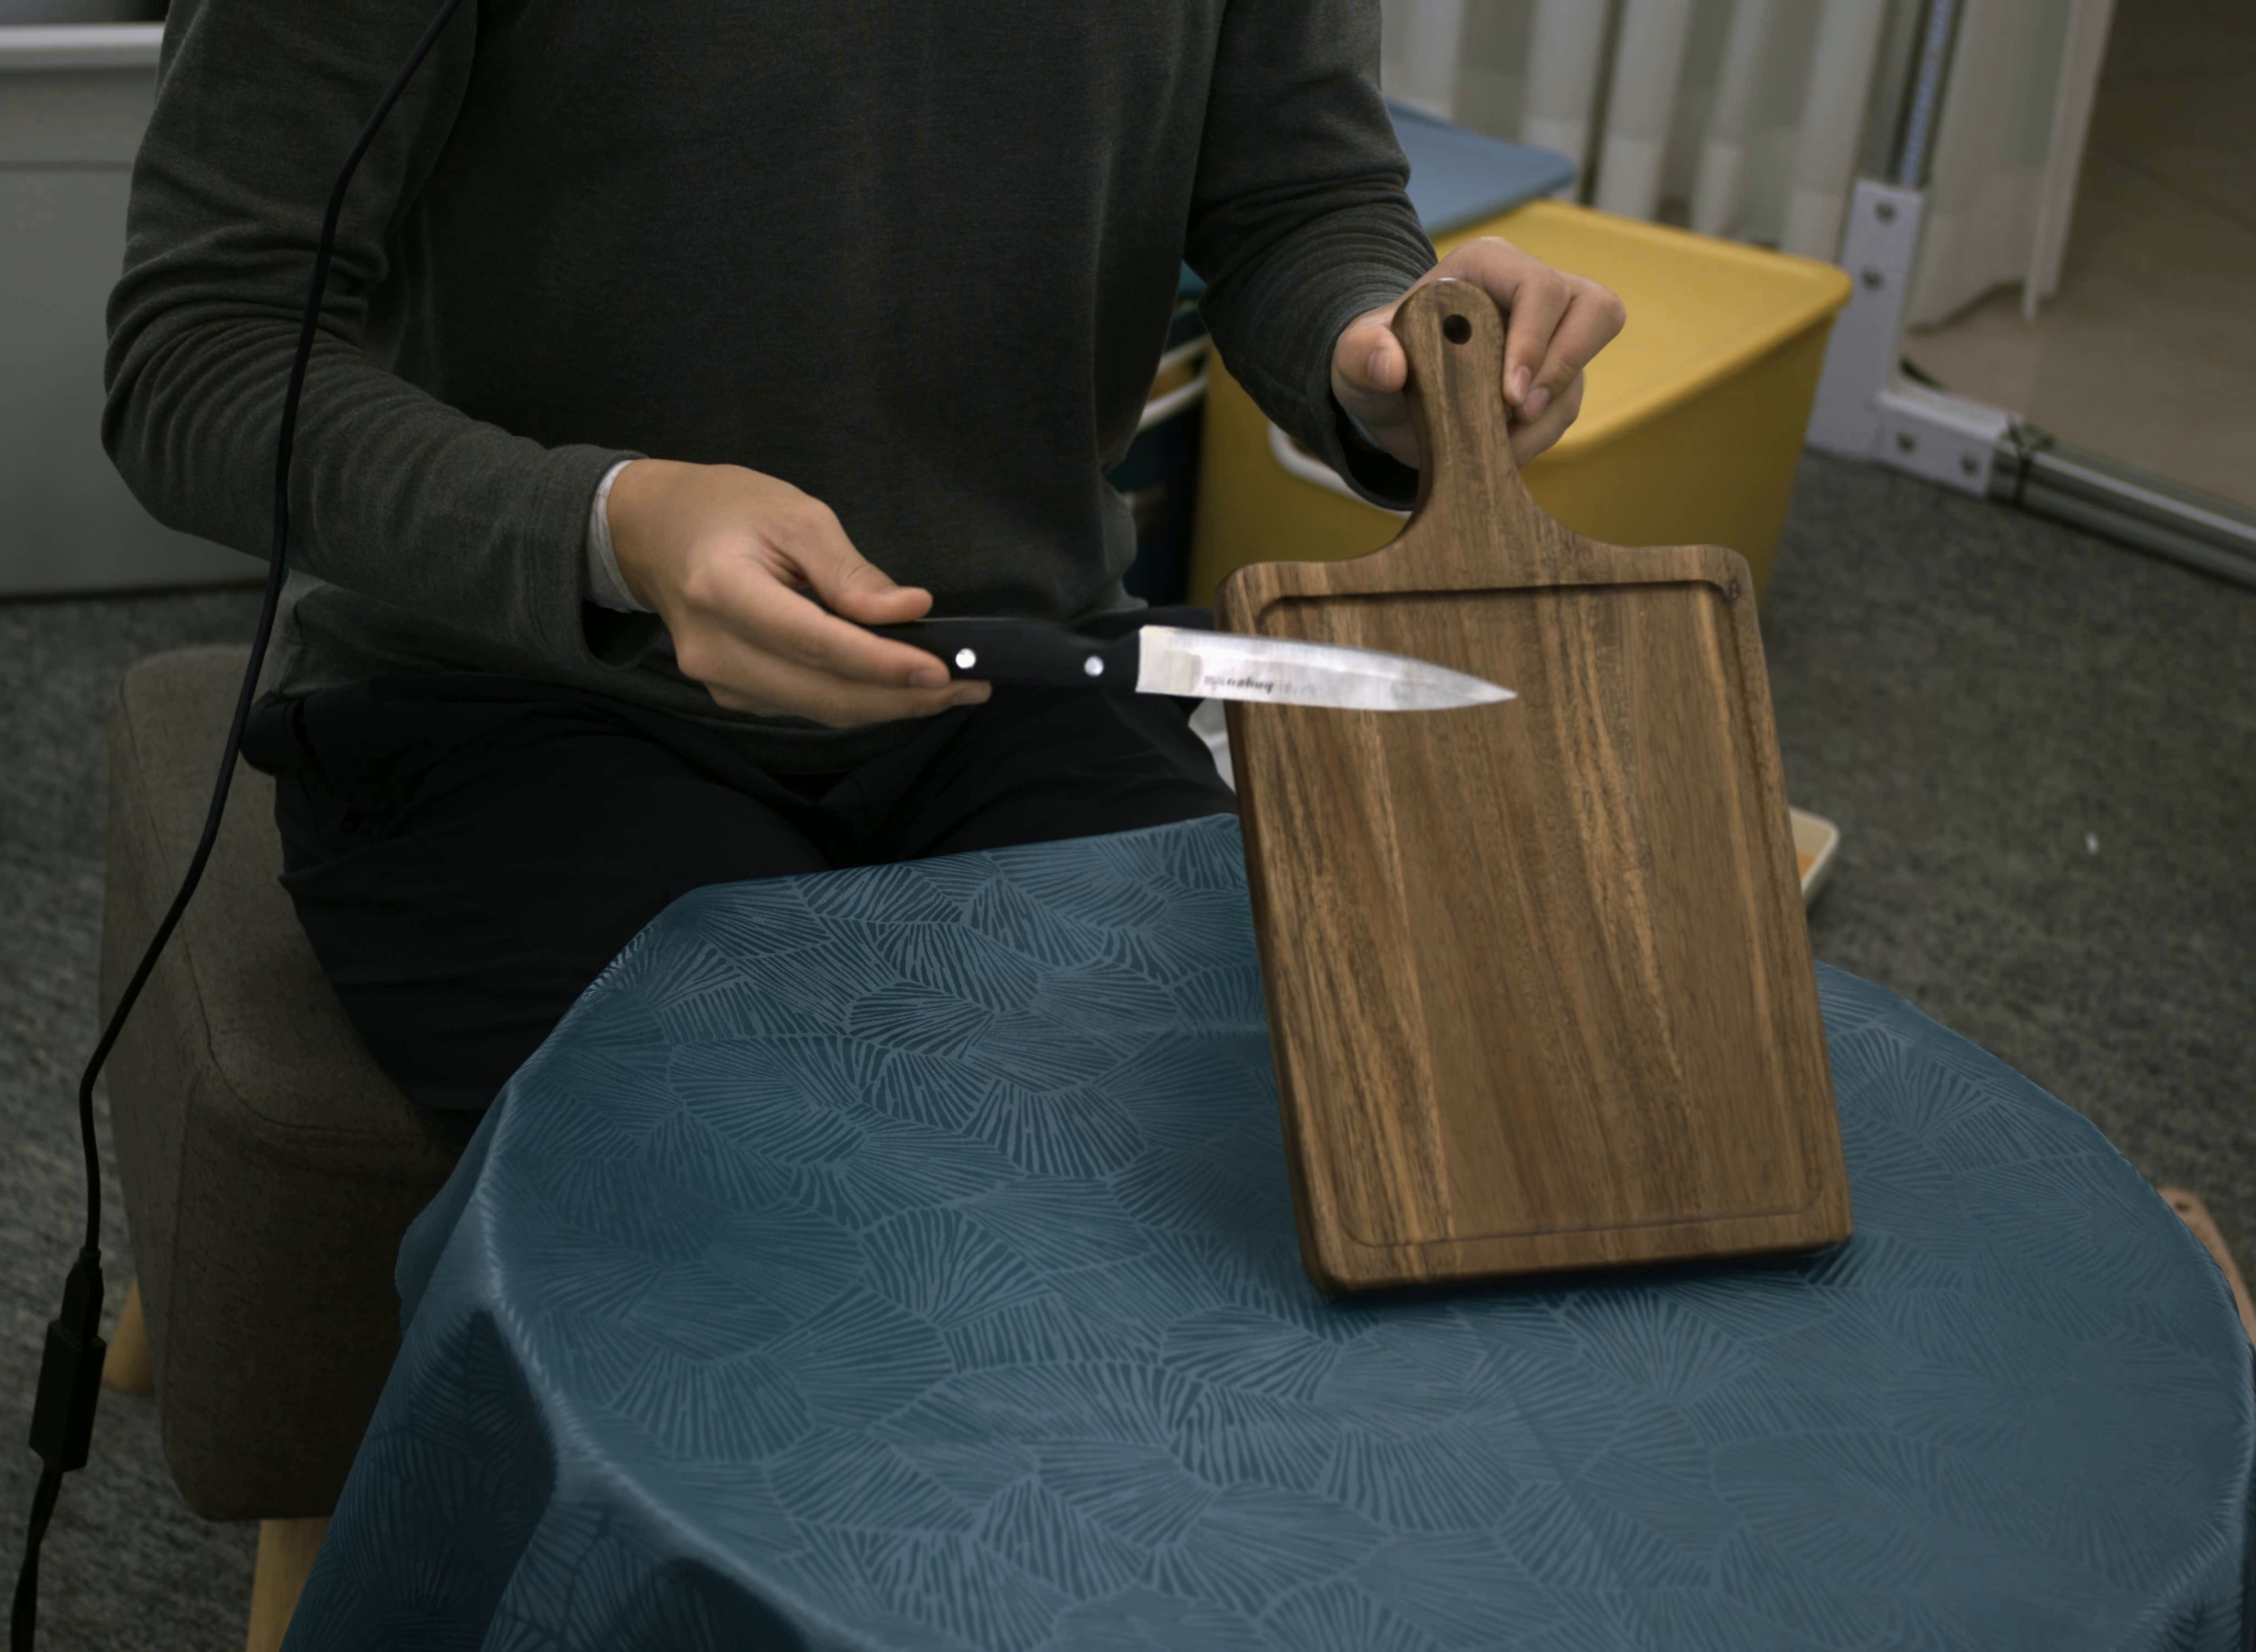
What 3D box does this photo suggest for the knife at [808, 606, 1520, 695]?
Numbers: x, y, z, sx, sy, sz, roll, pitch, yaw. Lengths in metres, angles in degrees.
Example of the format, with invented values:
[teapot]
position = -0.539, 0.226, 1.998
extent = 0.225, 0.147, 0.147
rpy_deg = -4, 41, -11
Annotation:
[knife]
position = 0.011, -0.056, 1.759
extent = 0.238, 0.024, 0.016
rpy_deg = 3, 4, 7

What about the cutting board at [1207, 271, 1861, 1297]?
[cutting board]
position = 0.132, -0.021, 1.820
extent = 0.200, 0.354, 0.023
rpy_deg = -3, -14, -18
